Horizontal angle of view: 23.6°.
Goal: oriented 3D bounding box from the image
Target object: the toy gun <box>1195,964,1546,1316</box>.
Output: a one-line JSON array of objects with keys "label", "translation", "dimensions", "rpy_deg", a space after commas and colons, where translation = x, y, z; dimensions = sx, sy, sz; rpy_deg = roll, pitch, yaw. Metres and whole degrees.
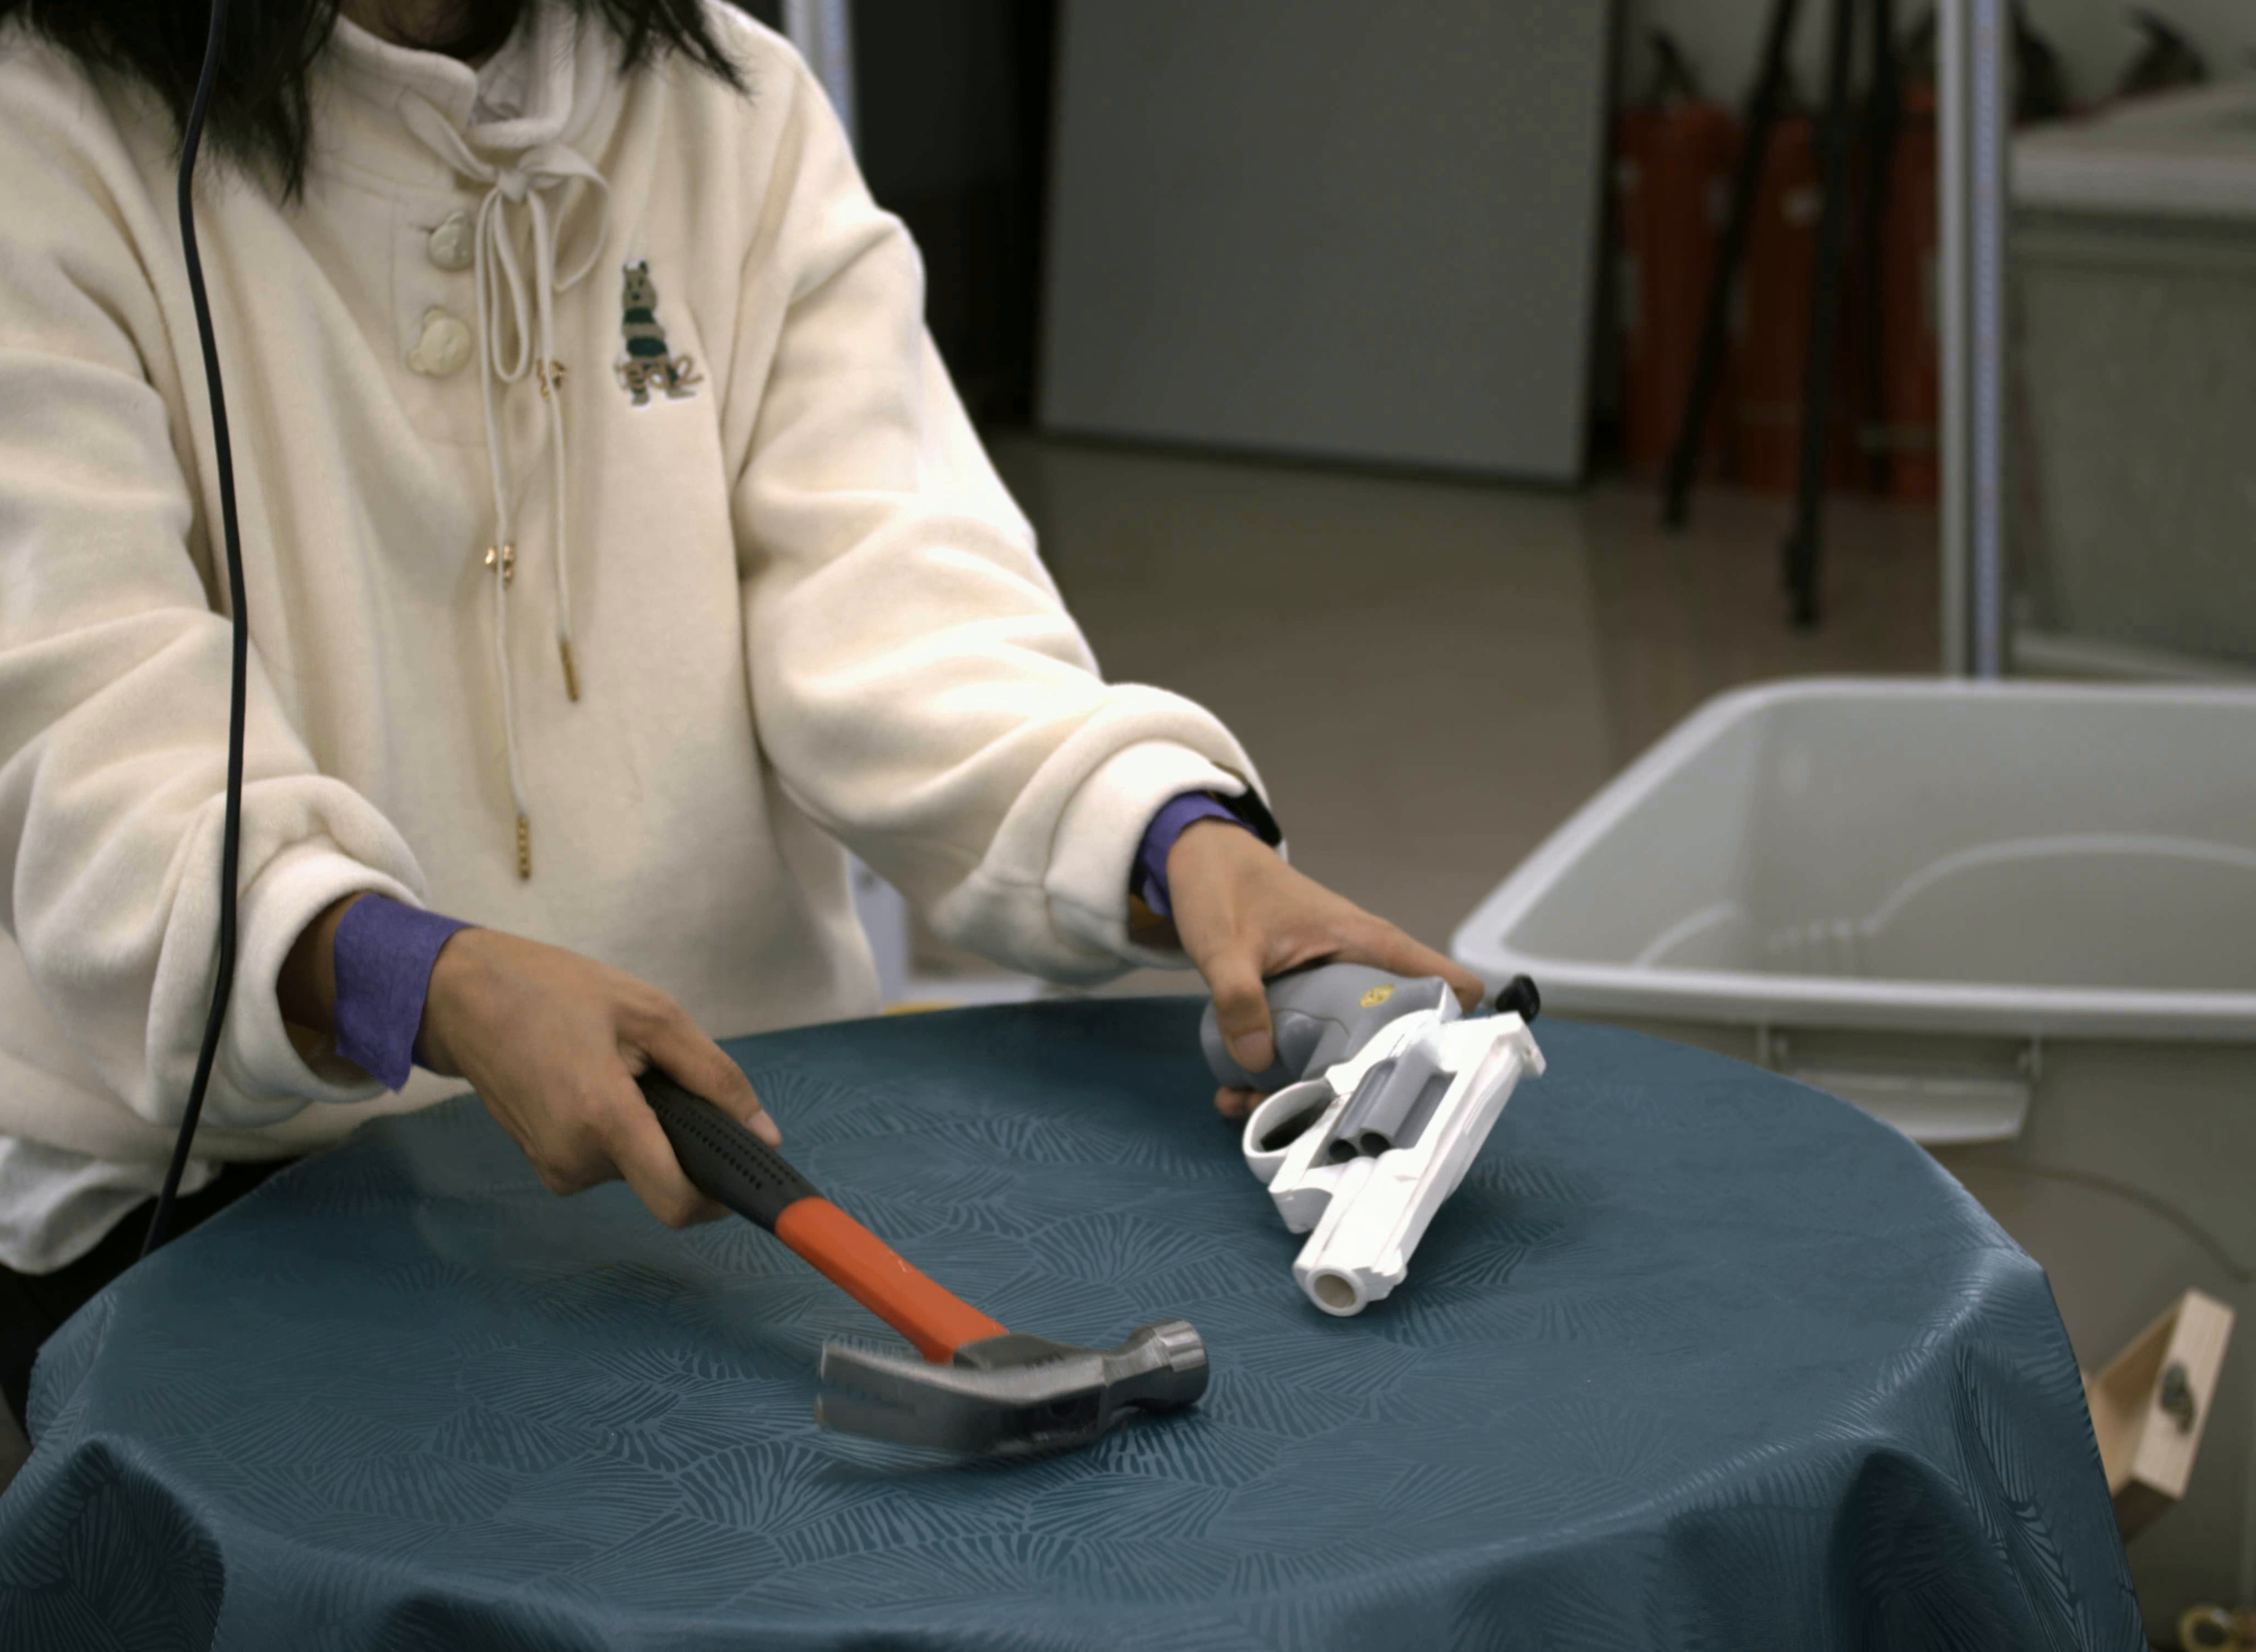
[{"label": "toy gun", "translation": [0.064, 0.096, 1.733], "dimensions": [0.142, 0.039, 0.208], "rpy_deg": [-16, 24, 31]}]

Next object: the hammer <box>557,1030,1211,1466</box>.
[{"label": "hammer", "translation": [-0.096, 0.122, 1.635], "dimensions": [0.108, 0.026, 0.280], "rpy_deg": [-20, 29, -28]}]
